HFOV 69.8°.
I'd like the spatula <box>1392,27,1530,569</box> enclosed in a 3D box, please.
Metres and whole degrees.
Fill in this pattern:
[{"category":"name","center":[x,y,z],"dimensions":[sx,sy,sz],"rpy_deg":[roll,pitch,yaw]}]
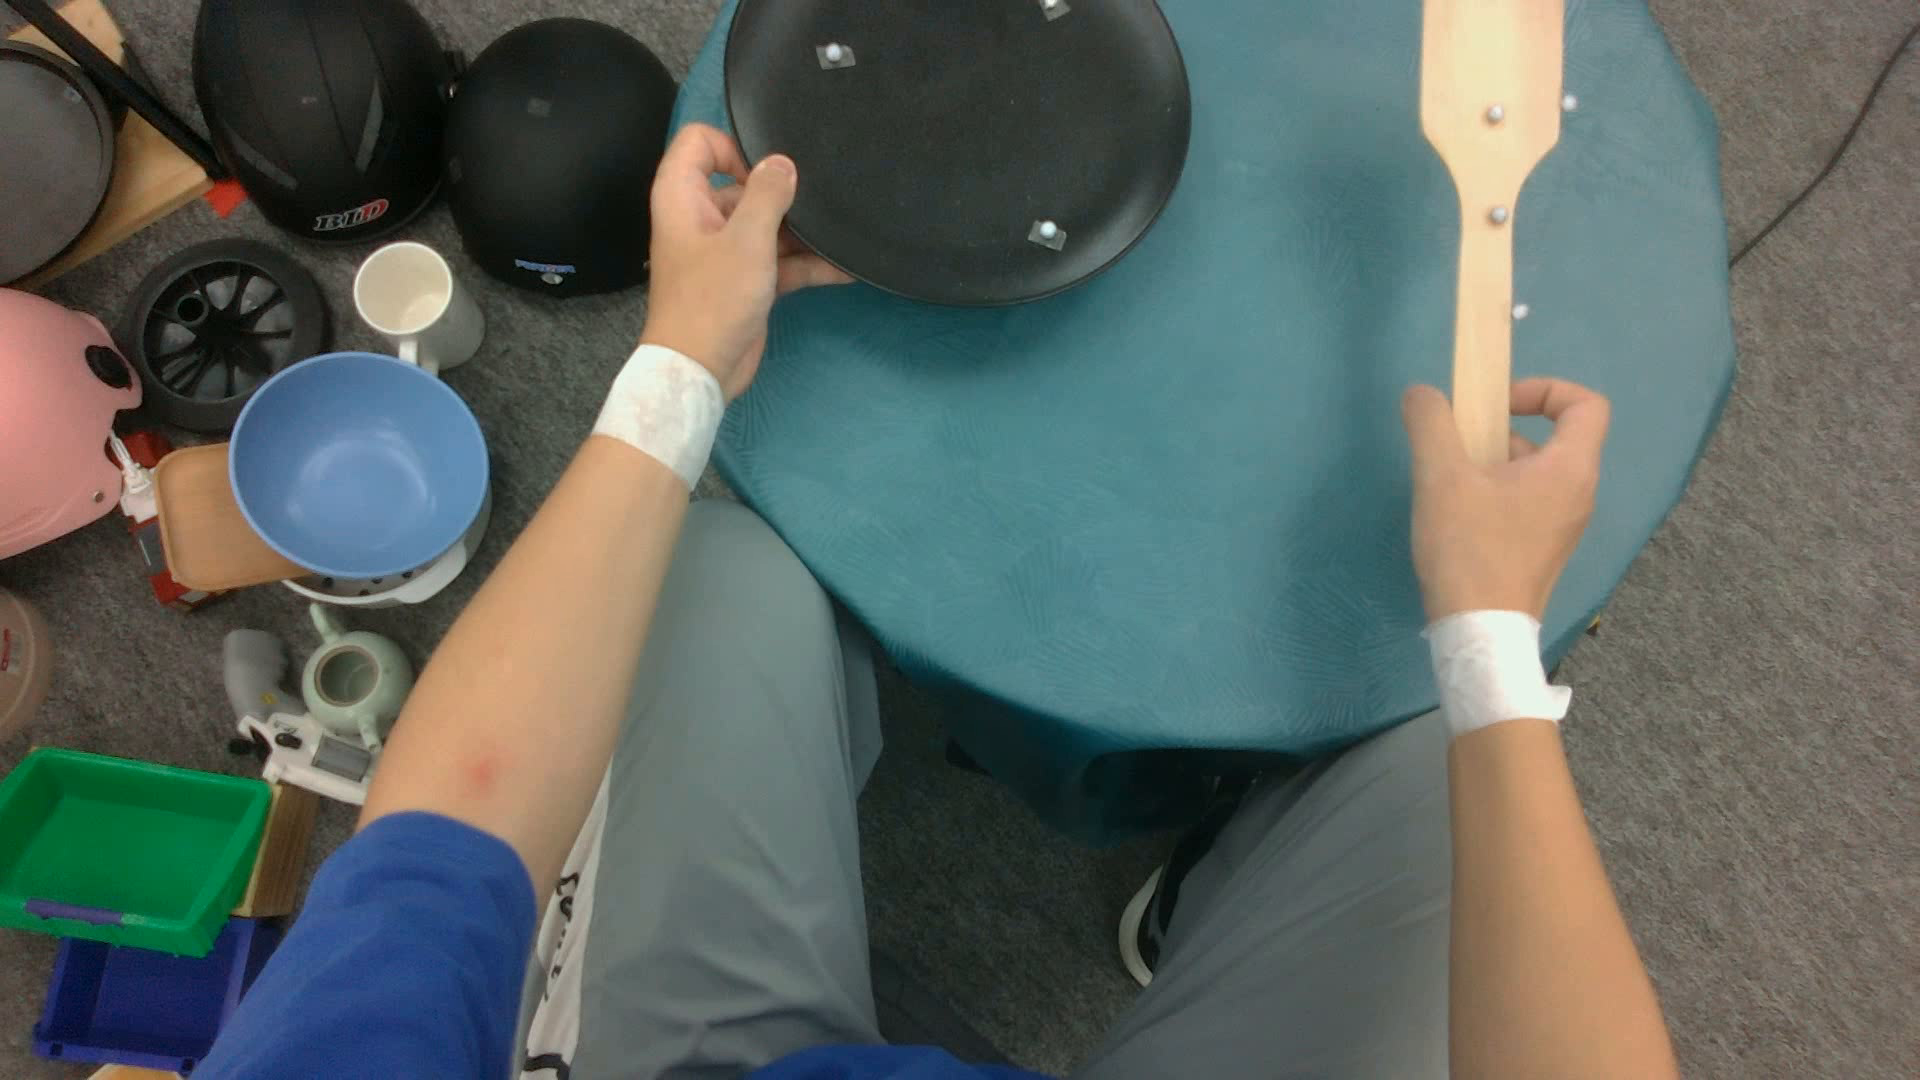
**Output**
[{"category":"spatula","center":[0.259,-0.129,0.705],"dimensions":[0.072,0.010,0.293],"rpy_deg":[3,78,2]}]

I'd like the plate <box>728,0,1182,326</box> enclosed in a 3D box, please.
[{"category":"plate","center":[-0.001,-0.224,0.742],"dimensions":[0.244,0.023,0.245],"rpy_deg":[2,73,-7]}]
